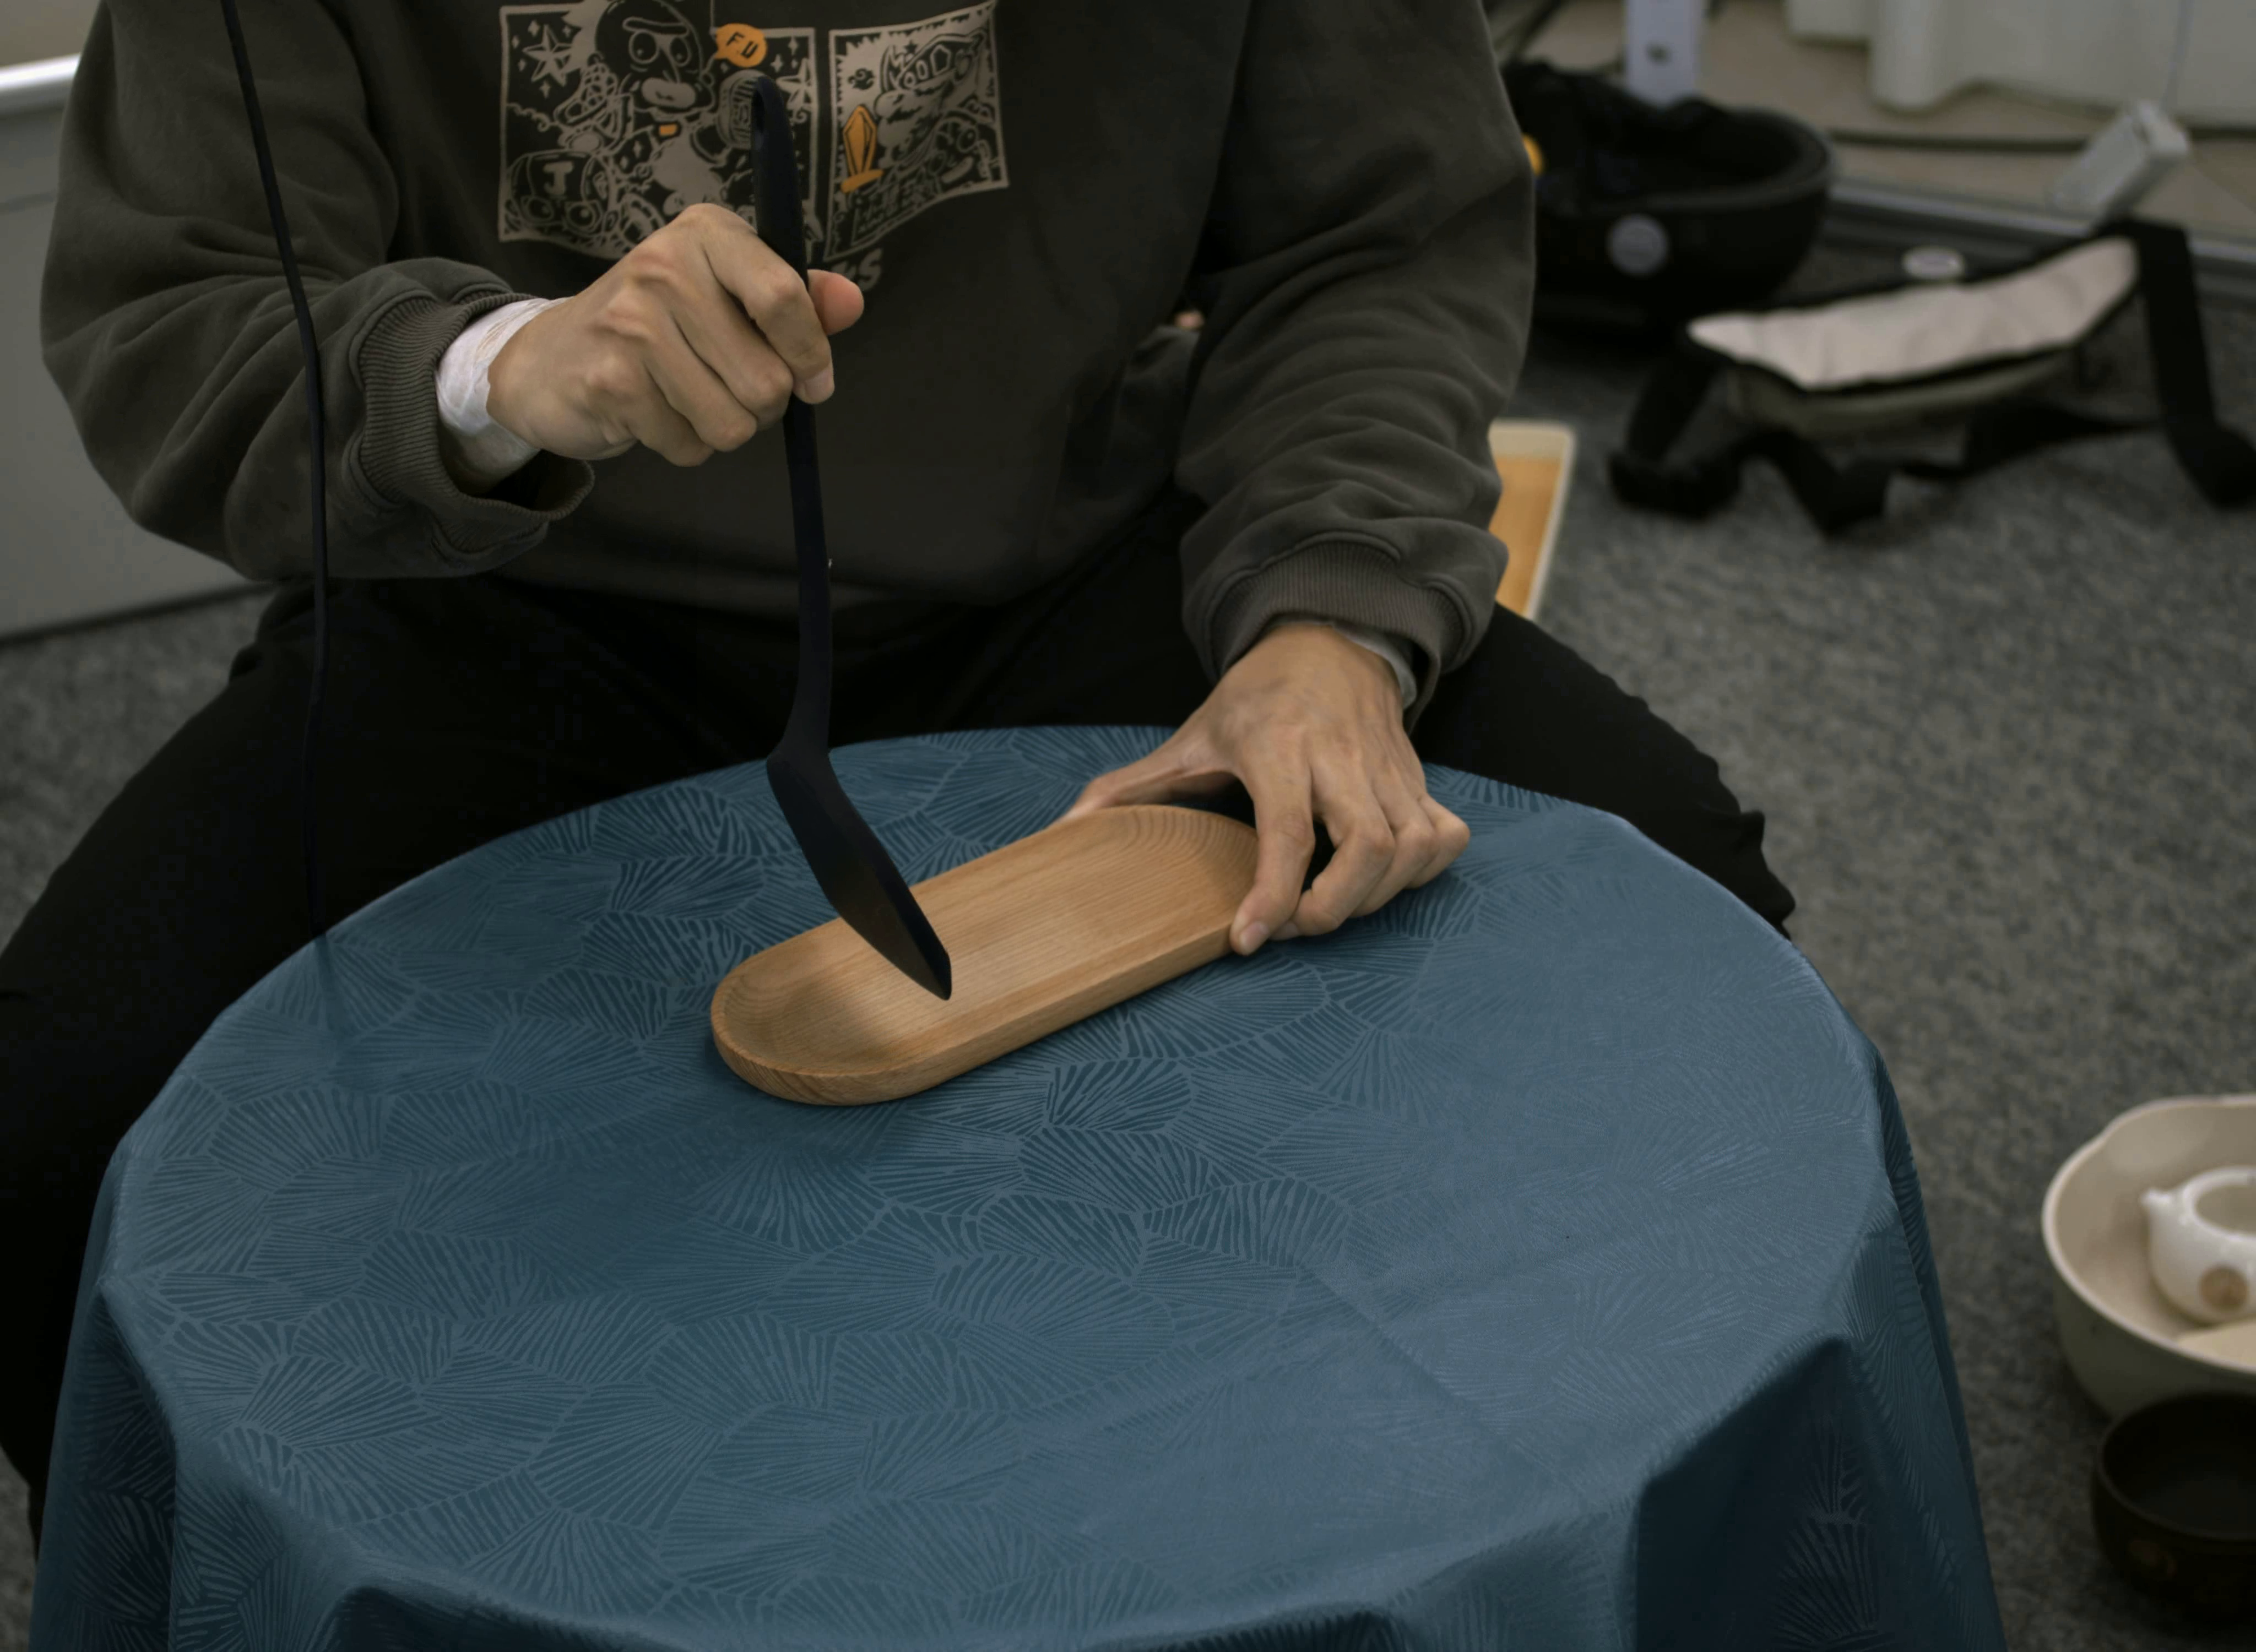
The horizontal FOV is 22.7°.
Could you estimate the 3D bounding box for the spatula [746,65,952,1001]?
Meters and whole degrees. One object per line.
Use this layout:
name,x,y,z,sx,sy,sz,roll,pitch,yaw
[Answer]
spatula,-0.101,-0.097,1.877,0.040,0.323,0.100,-13,24,-27

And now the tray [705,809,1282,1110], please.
tray,-0.046,0.046,1.991,0.233,0.020,0.102,-24,35,-32
